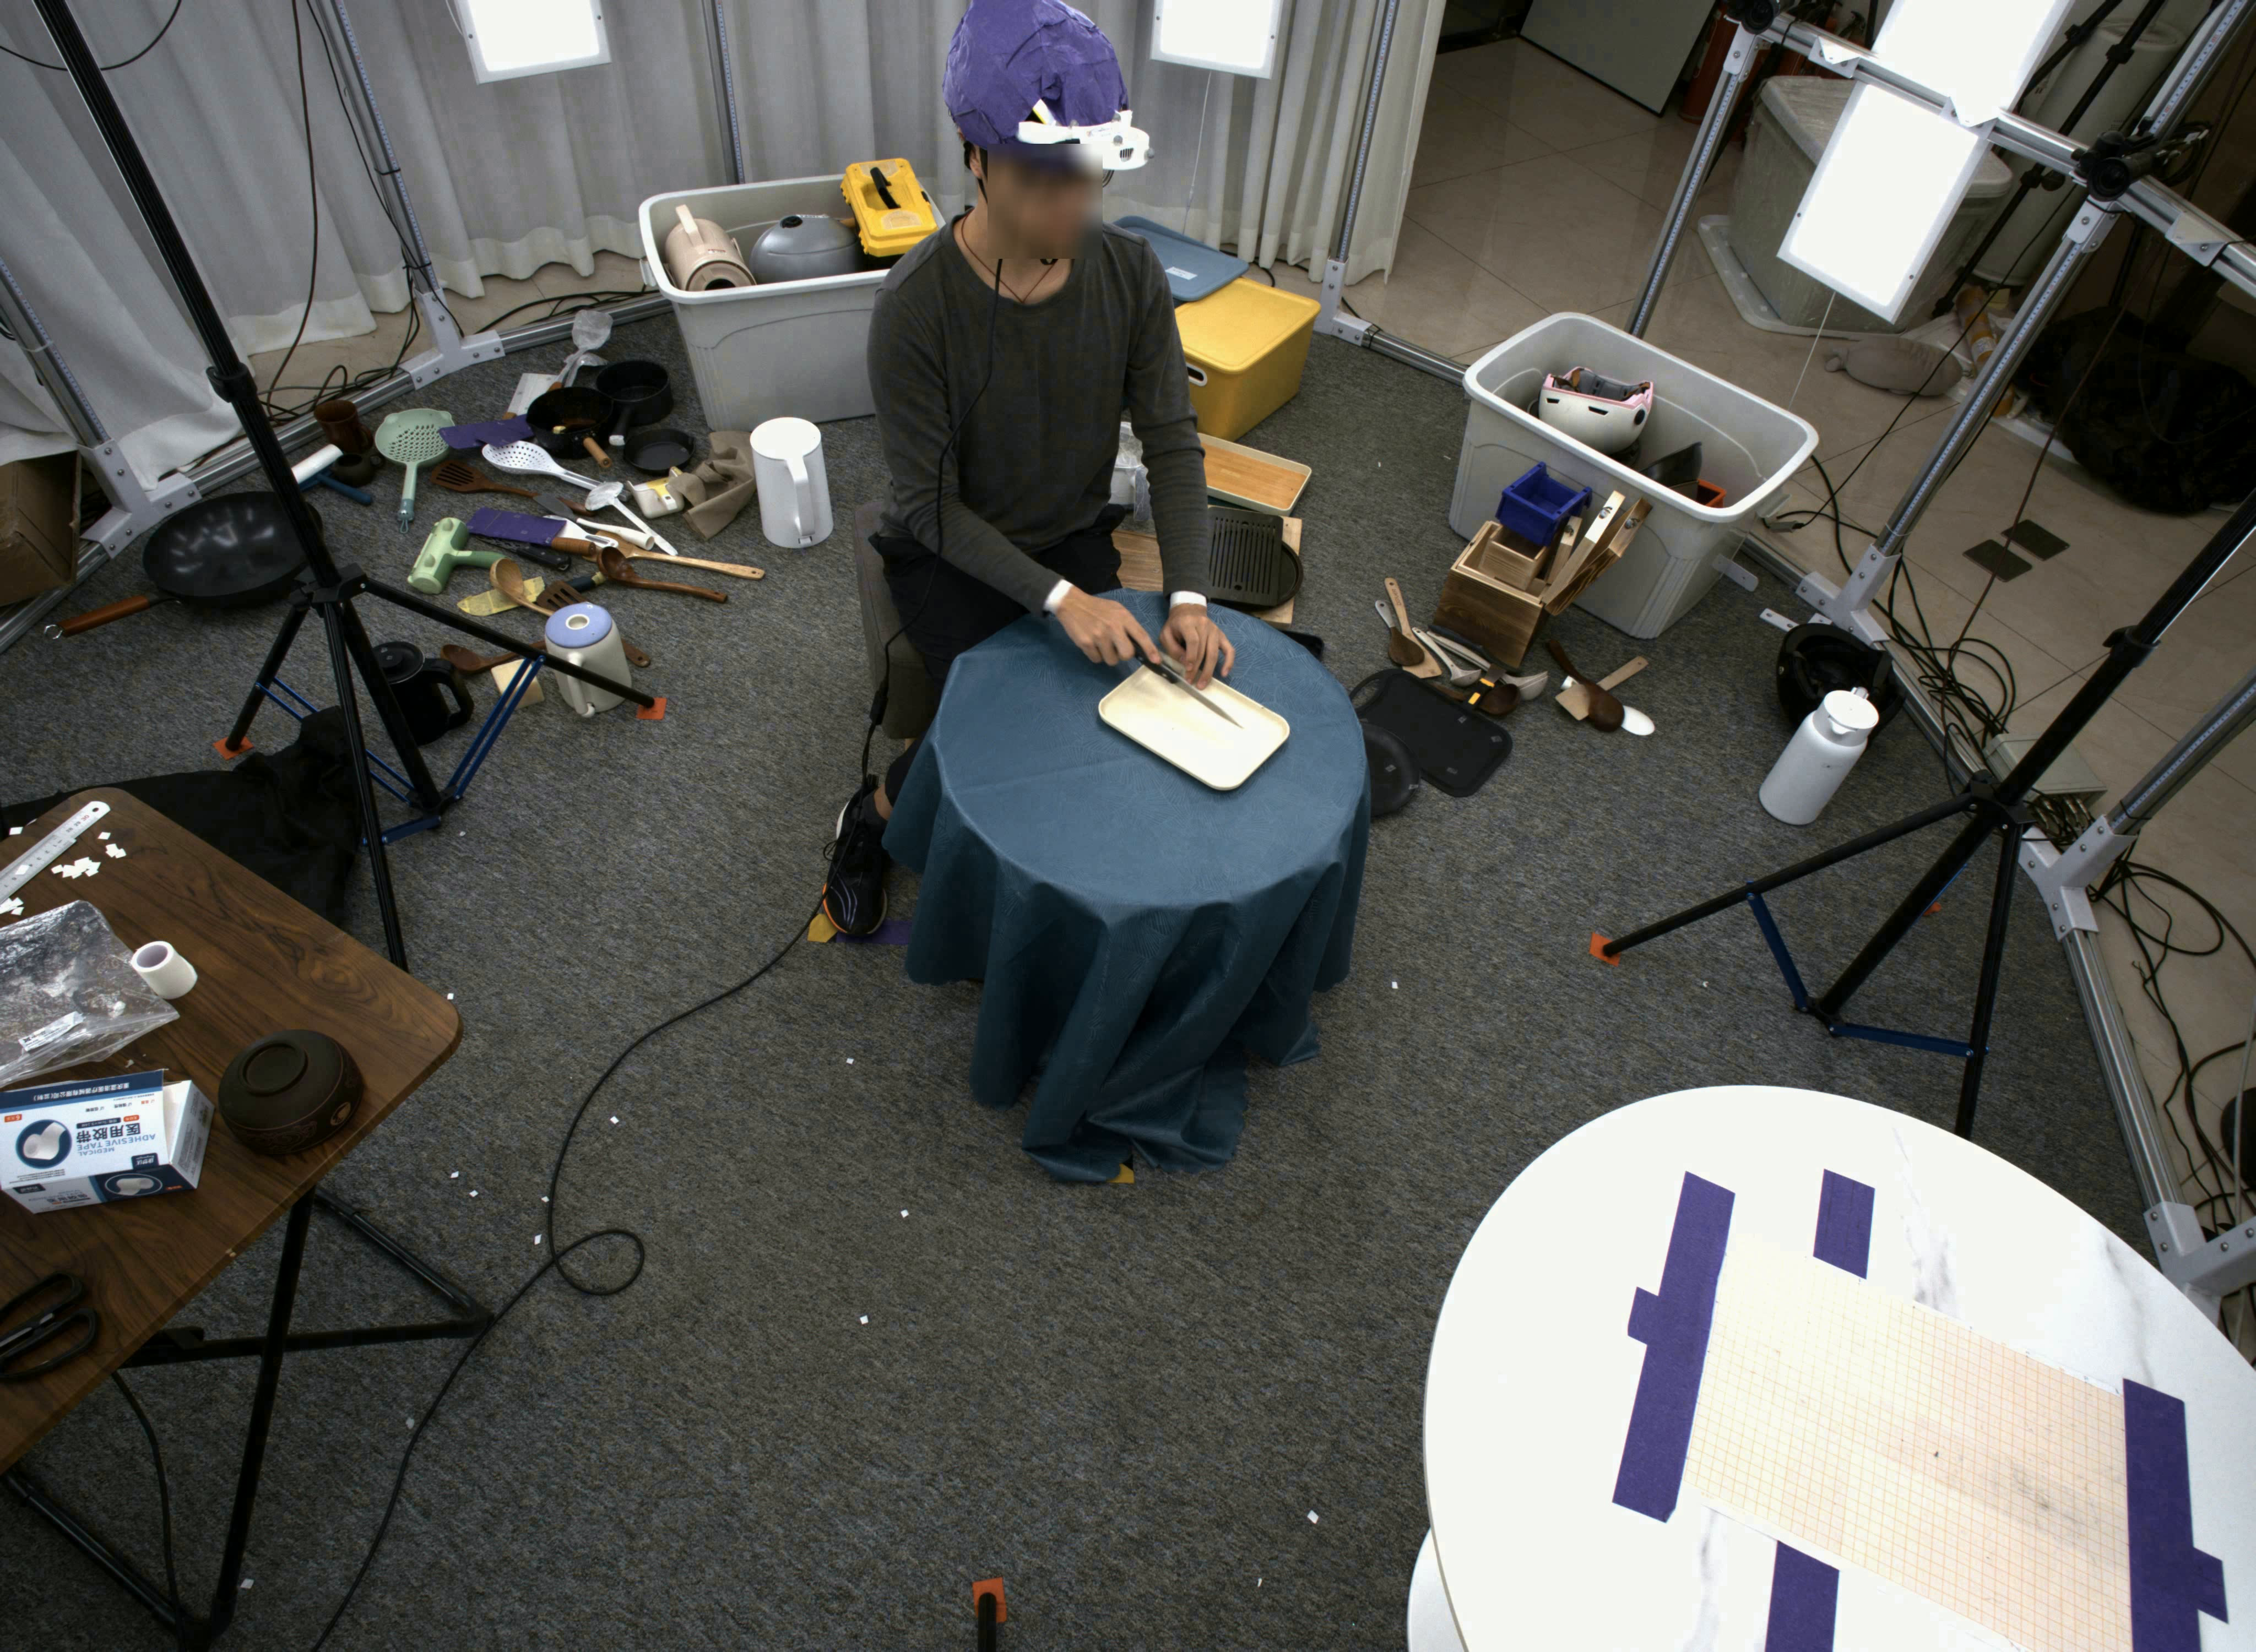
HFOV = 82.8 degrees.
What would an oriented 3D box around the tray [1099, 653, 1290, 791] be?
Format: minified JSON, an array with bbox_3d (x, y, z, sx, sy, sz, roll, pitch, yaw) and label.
[{"bbox_3d":[0.092,-0.147,1.789,0.242,0.017,0.173,34,56,23],"label":"tray"}]

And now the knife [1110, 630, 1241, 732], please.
[{"bbox_3d":[0.067,-0.203,1.790,0.240,0.024,0.016,39,64,17],"label":"knife"}]
